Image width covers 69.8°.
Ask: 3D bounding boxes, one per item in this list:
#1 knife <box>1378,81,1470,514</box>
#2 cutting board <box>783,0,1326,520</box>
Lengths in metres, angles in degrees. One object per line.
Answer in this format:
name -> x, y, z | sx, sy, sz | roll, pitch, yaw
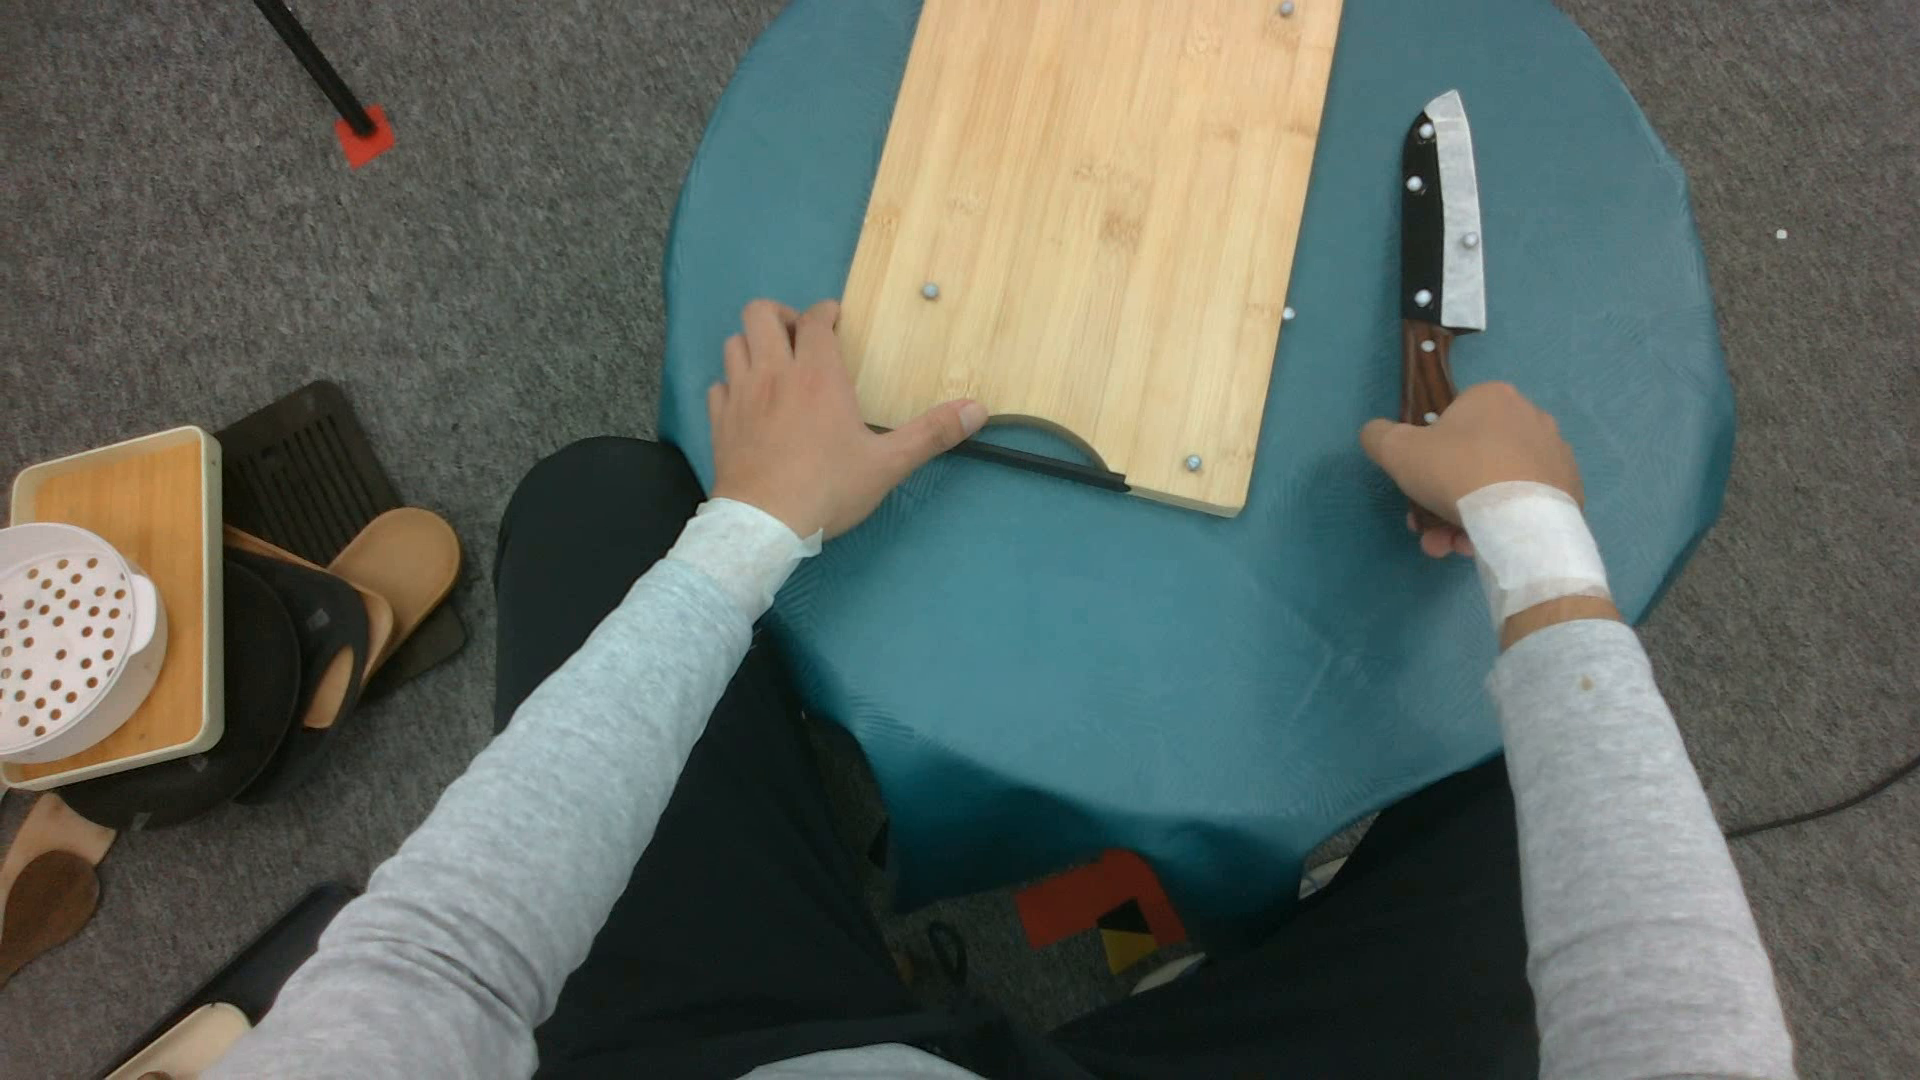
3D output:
knife -> 0.259, -0.145, 0.768 | 0.050, 0.020, 0.290 | 5, 65, 7
cutting board -> 0.062, -0.201, 0.791 | 0.251, 0.023, 0.349 | 13, 75, 2
